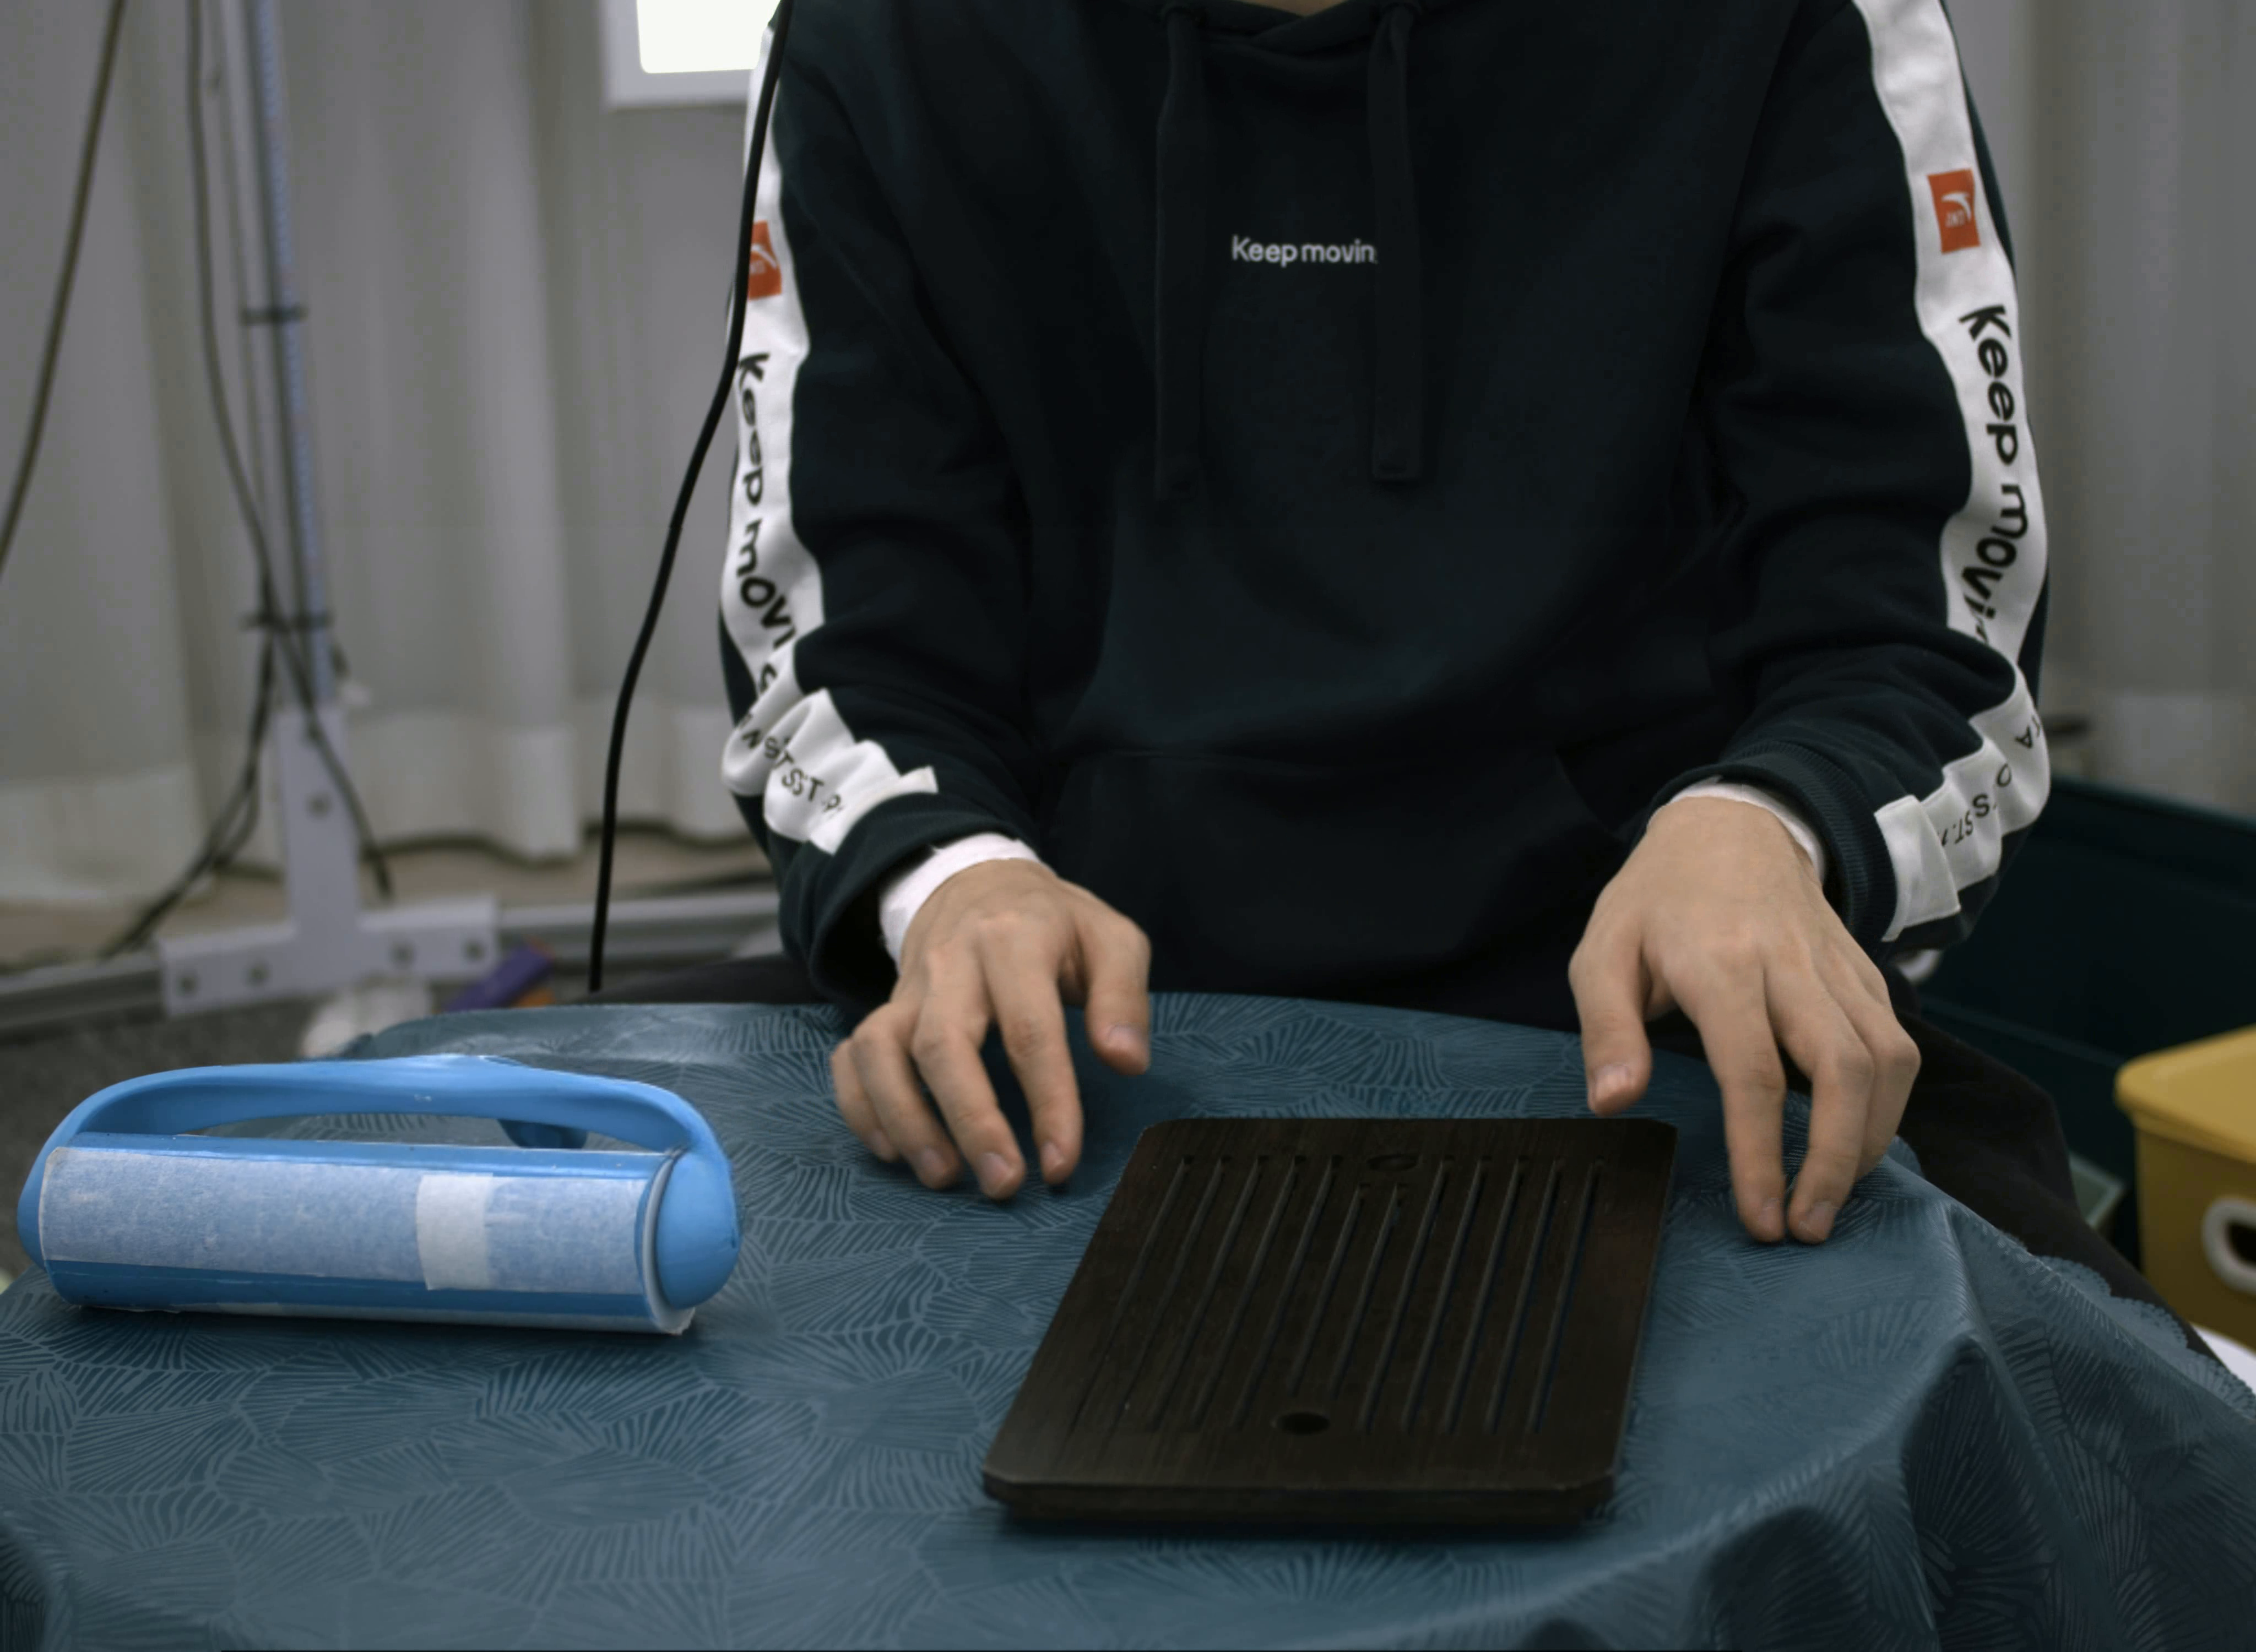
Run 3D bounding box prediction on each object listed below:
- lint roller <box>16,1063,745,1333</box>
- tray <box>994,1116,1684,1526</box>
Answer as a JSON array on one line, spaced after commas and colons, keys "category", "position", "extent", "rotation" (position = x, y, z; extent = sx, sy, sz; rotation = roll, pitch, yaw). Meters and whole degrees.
[{"category": "lint roller", "position": [-0.212, 0.103, 1.687], "extent": [0.228, 0.067, 0.181], "rotation": [-1, 16, 13]}, {"category": "tray", "position": [0.069, 0.140, 1.572], "extent": [0.170, 0.018, 0.307], "rotation": [-1, 15, 9]}]
